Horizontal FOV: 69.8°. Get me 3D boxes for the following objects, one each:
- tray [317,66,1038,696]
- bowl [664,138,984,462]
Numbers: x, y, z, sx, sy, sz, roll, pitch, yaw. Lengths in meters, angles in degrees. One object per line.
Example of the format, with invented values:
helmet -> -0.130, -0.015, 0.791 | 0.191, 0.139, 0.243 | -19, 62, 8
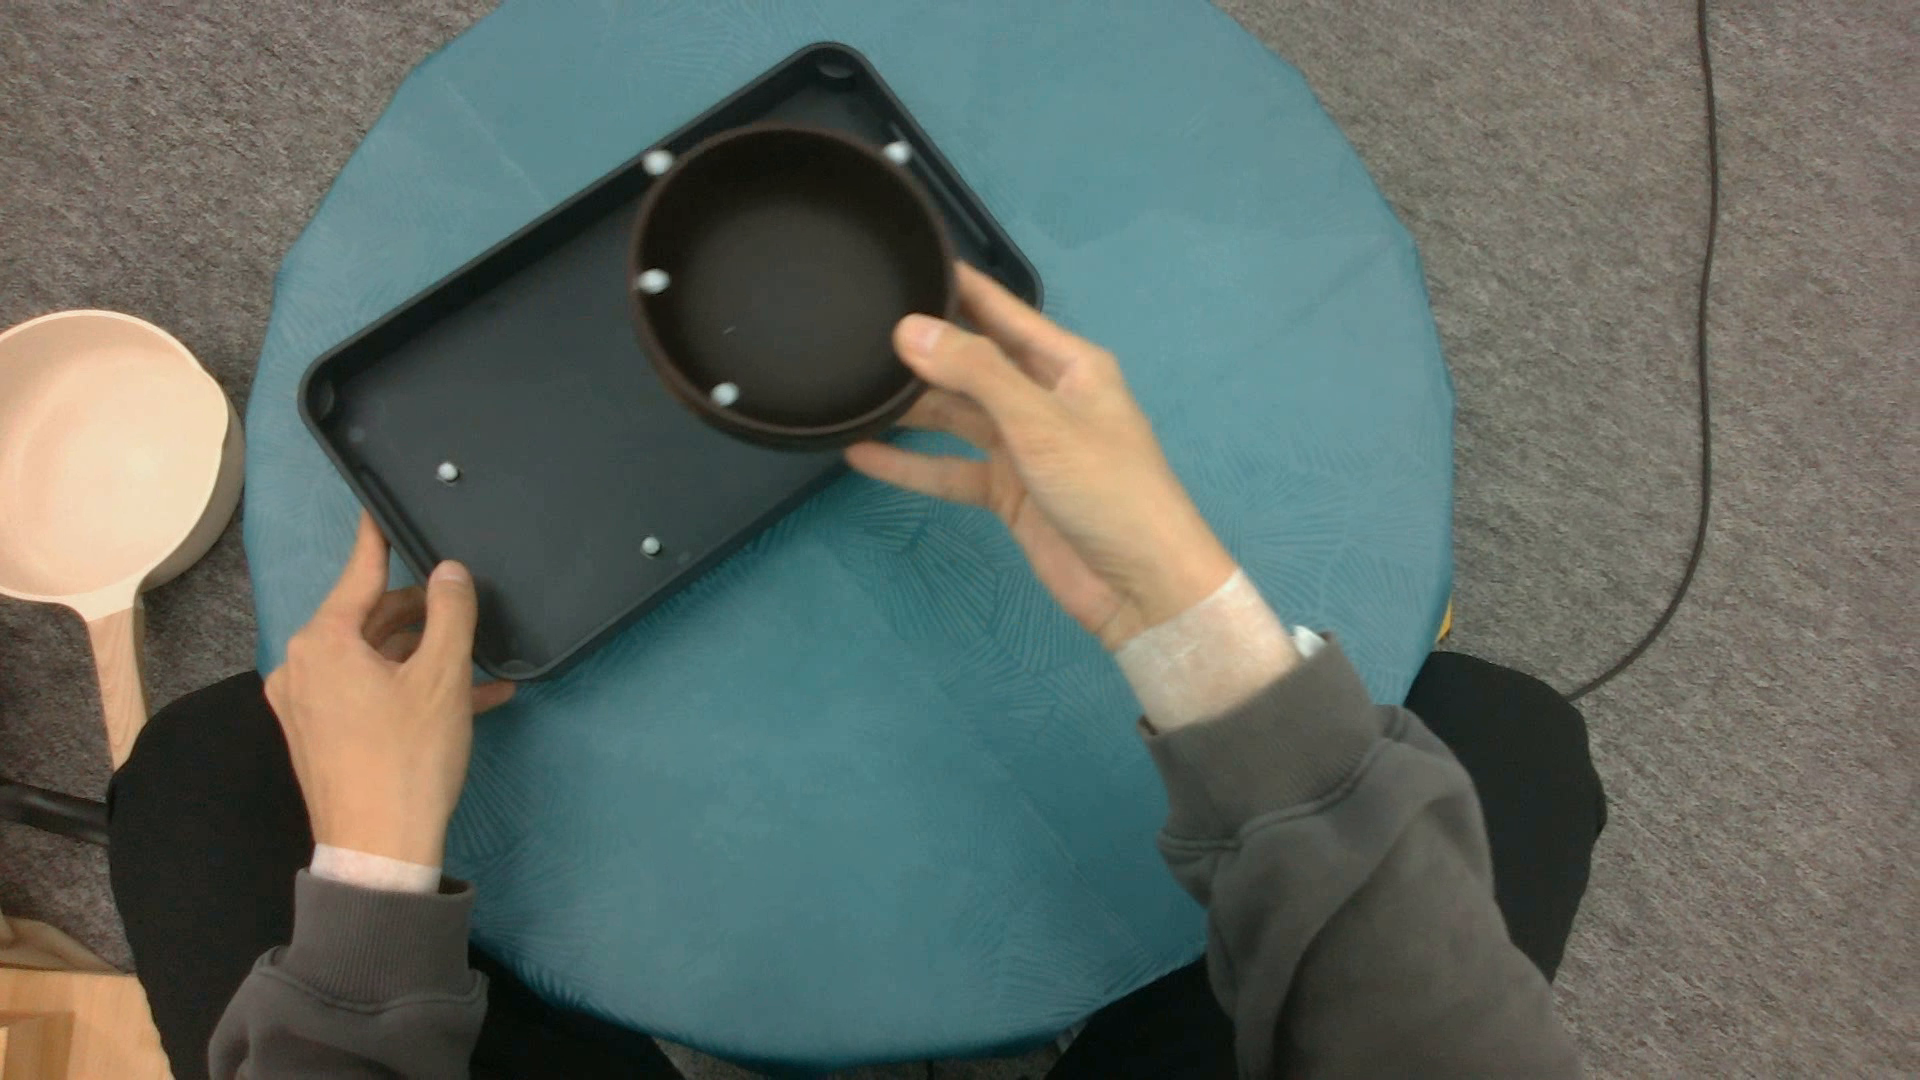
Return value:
tray -> -0.132, -0.083, 0.681 | 0.318, 0.037, 0.184 | -38, 83, -11
bowl -> -0.052, -0.087, 0.530 | 0.118, 0.070, 0.118 | 1, 84, -7
